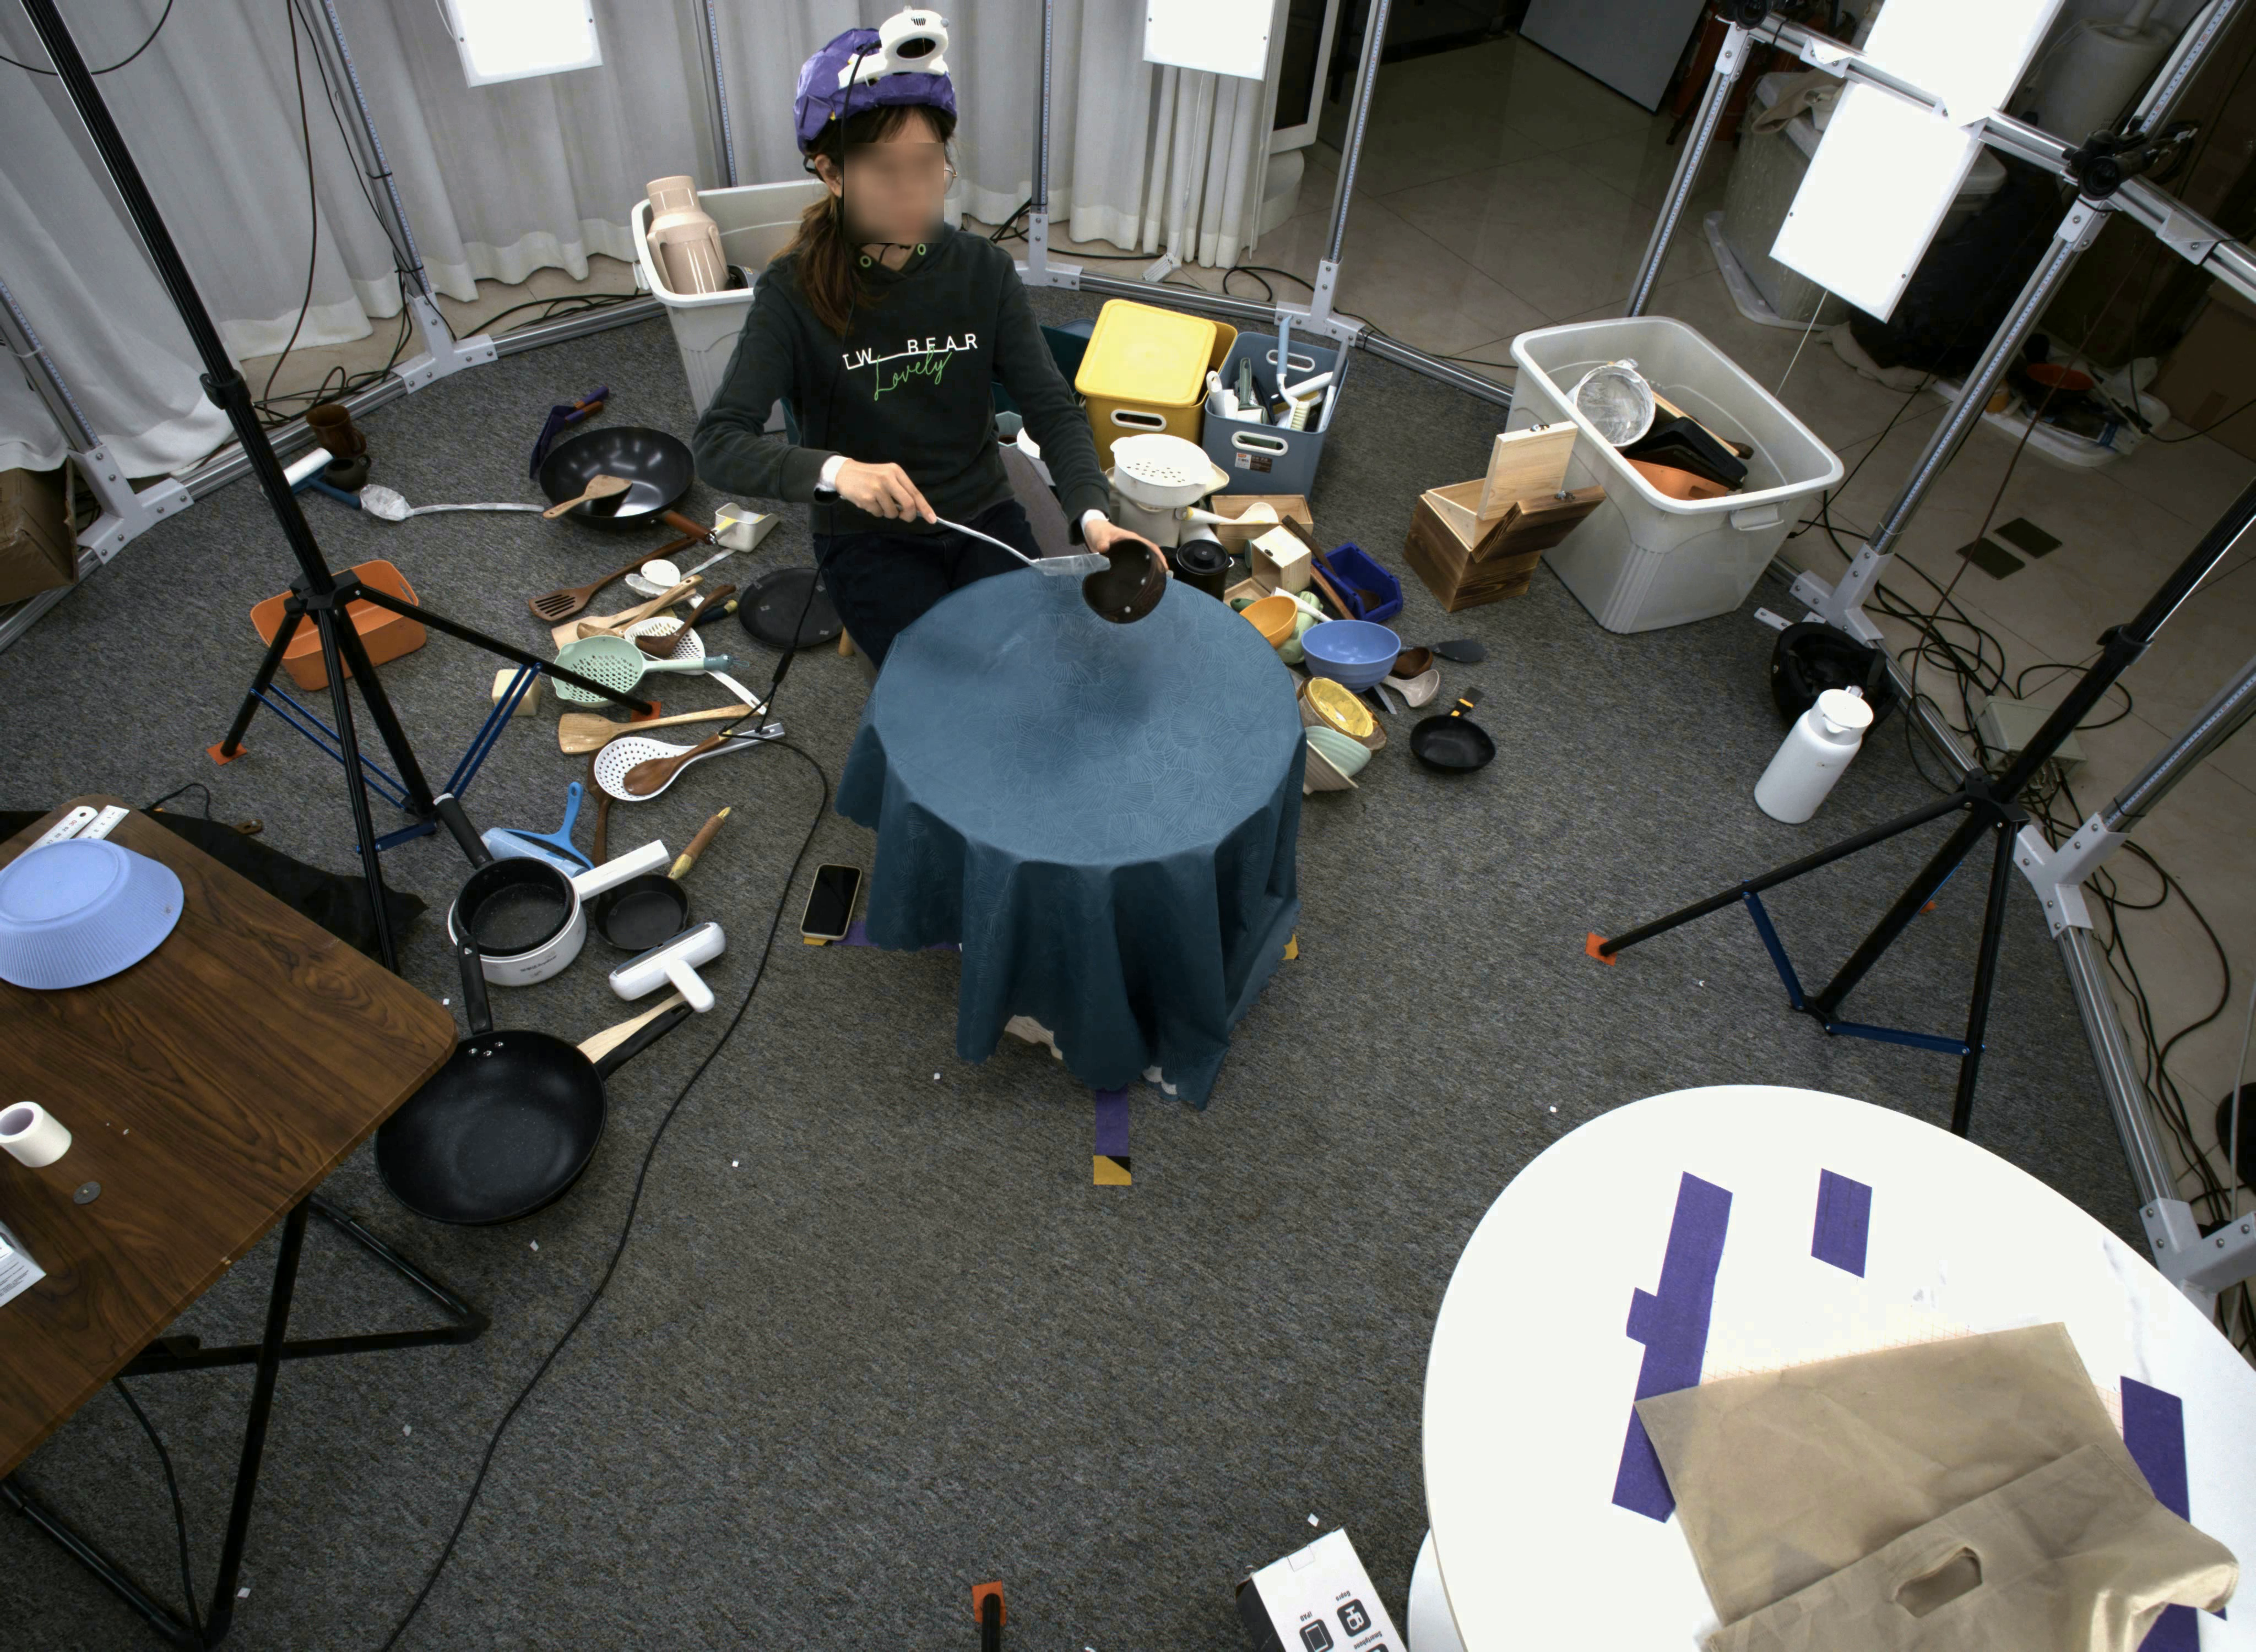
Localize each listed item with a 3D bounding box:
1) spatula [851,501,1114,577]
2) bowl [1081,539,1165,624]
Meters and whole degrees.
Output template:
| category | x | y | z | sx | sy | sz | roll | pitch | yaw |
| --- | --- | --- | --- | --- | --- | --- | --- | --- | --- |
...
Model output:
| category | x | y | z | sx | sy | sz | roll | pitch | yaw |
| --- | --- | --- | --- | --- | --- | --- | --- | --- | --- |
| spatula | -0.197 | -0.391 | 1.731 | 0.365 | 0.098 | 0.045 | 20 | 91 | 5 |
| bowl | 0.001 | -0.336 | 1.807 | 0.118 | 0.068 | 0.120 | -17 | 56 | 27 |
